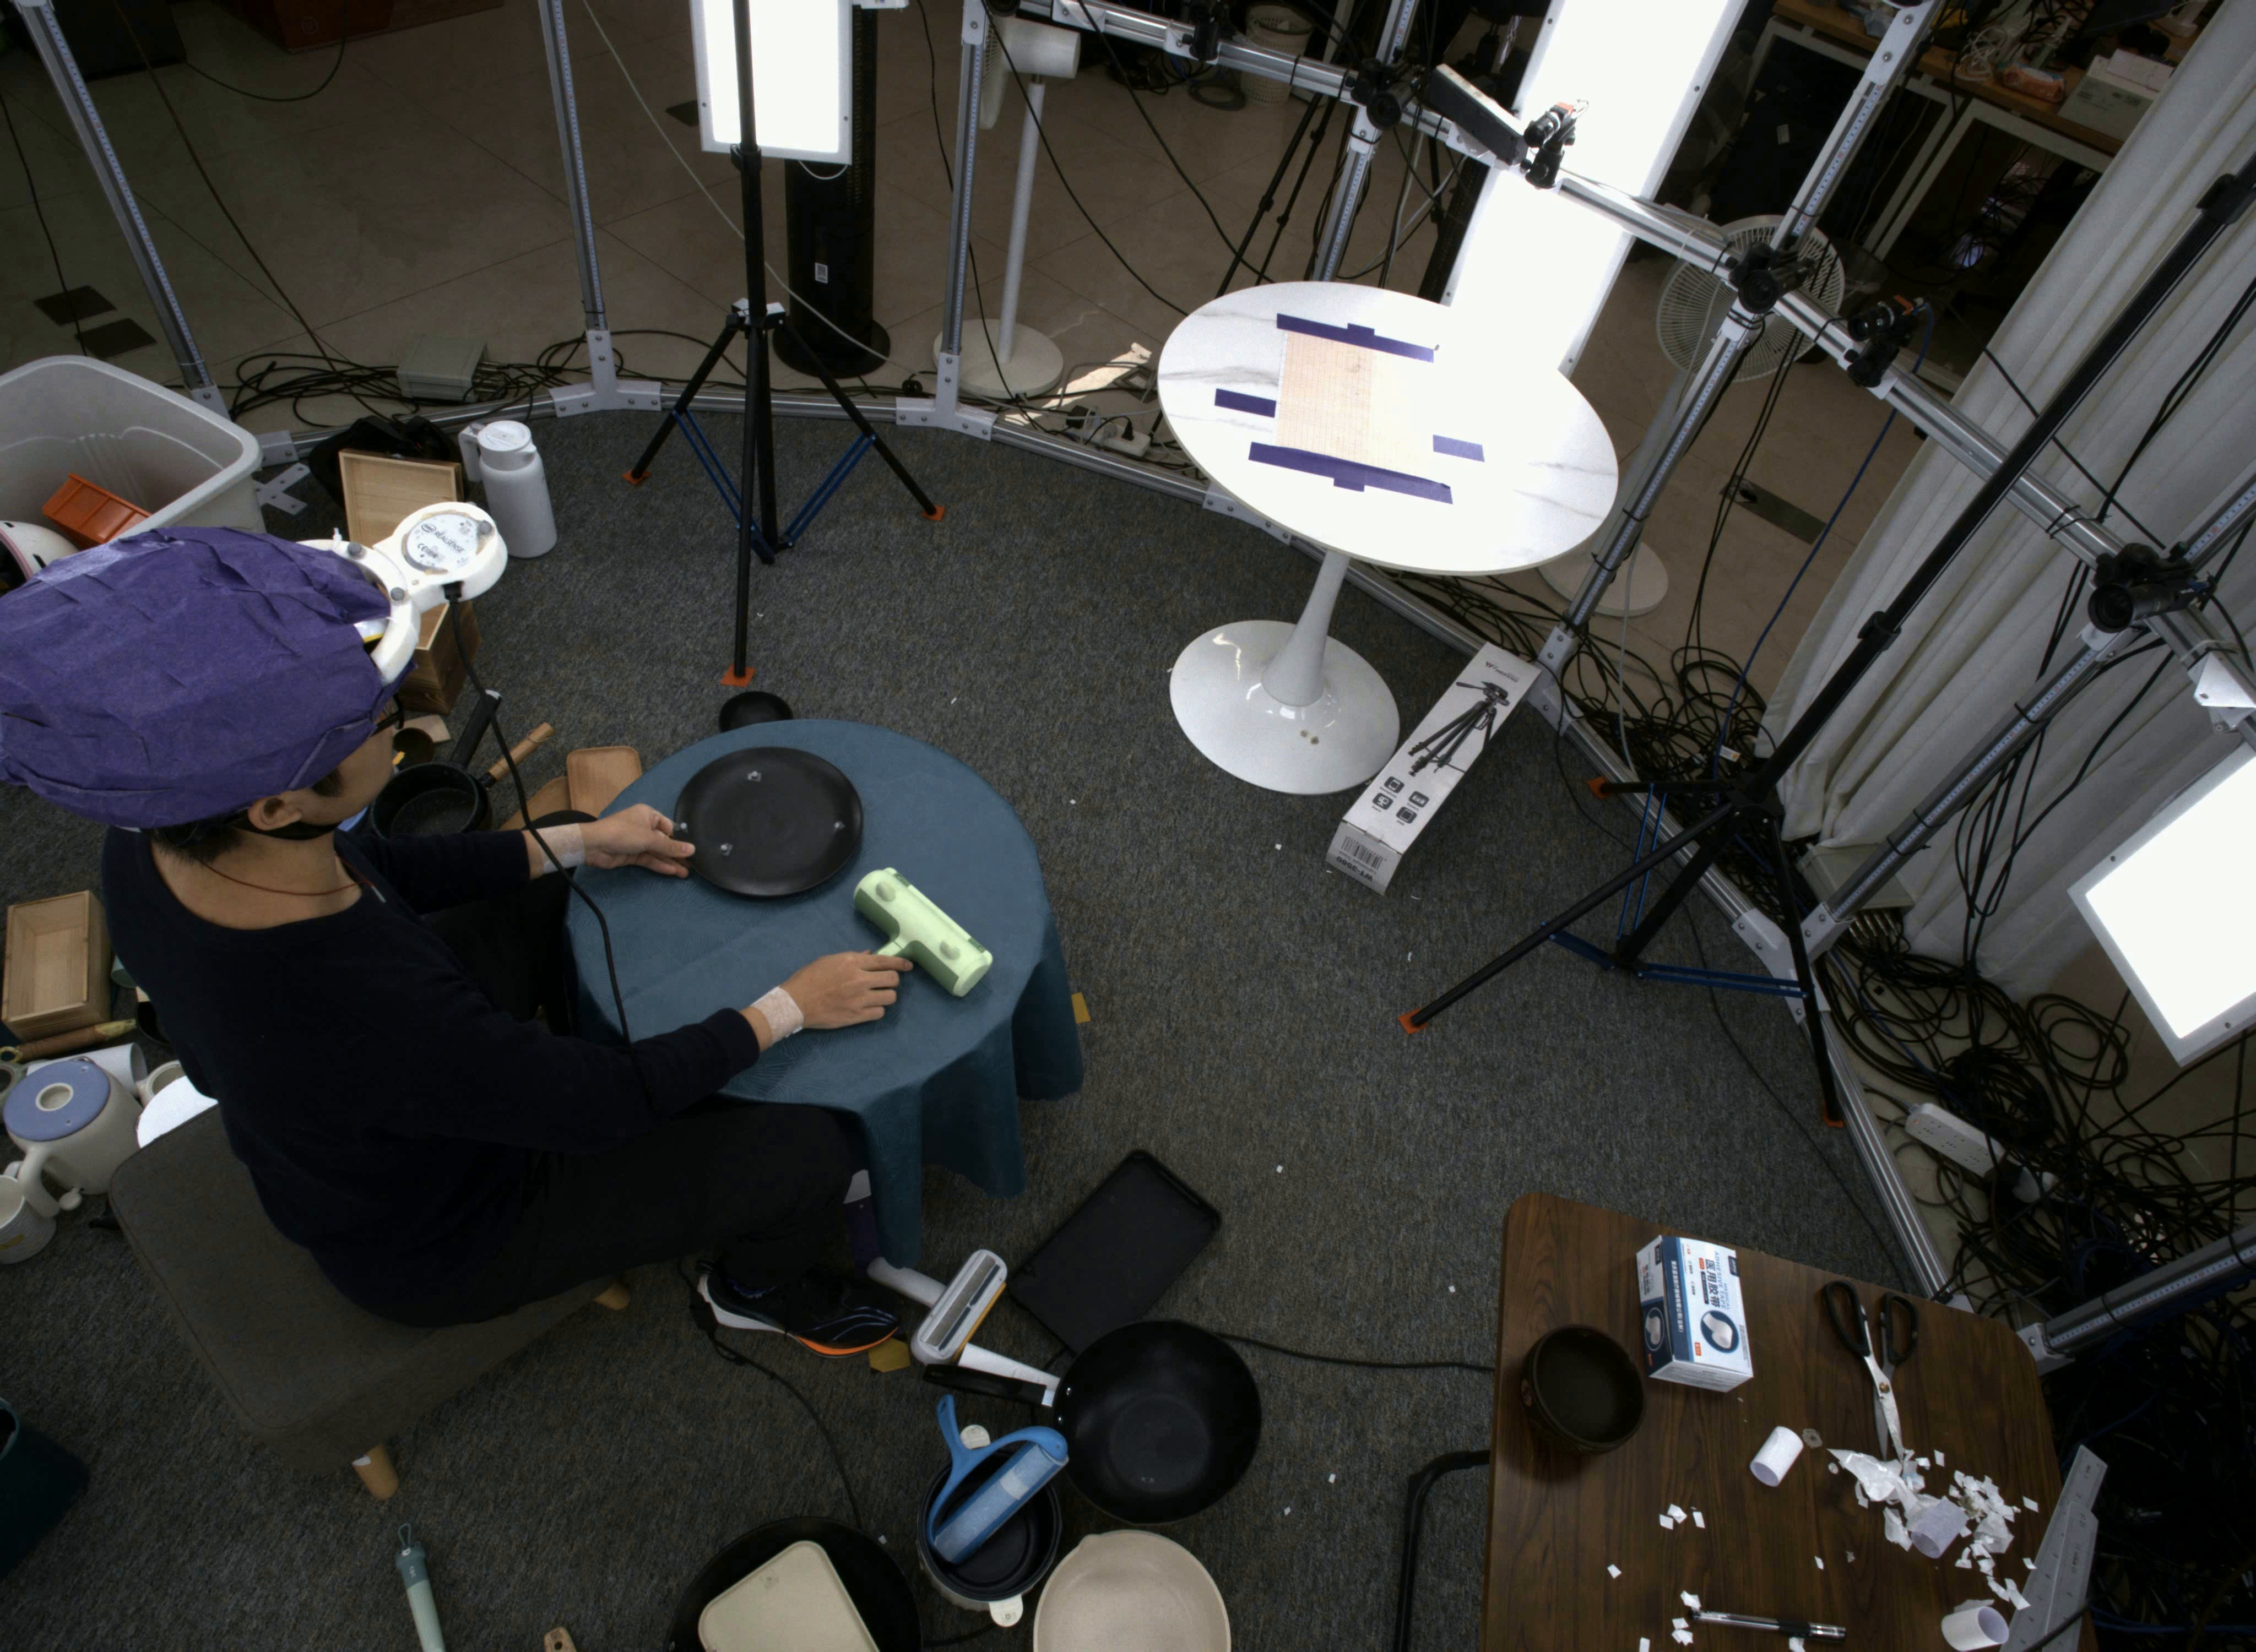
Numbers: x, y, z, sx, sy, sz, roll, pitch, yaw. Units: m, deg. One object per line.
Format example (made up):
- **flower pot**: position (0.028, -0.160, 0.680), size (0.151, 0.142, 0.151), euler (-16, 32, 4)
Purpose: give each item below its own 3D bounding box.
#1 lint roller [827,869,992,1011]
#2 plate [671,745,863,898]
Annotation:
- **lint roller**: position (-0.293, 0.150, 1.581), size (0.194, 0.084, 0.184), euler (38, 47, 16)
- **plate**: position (-0.470, -0.006, 1.687), size (0.244, 0.024, 0.240), euler (9, 53, -10)
